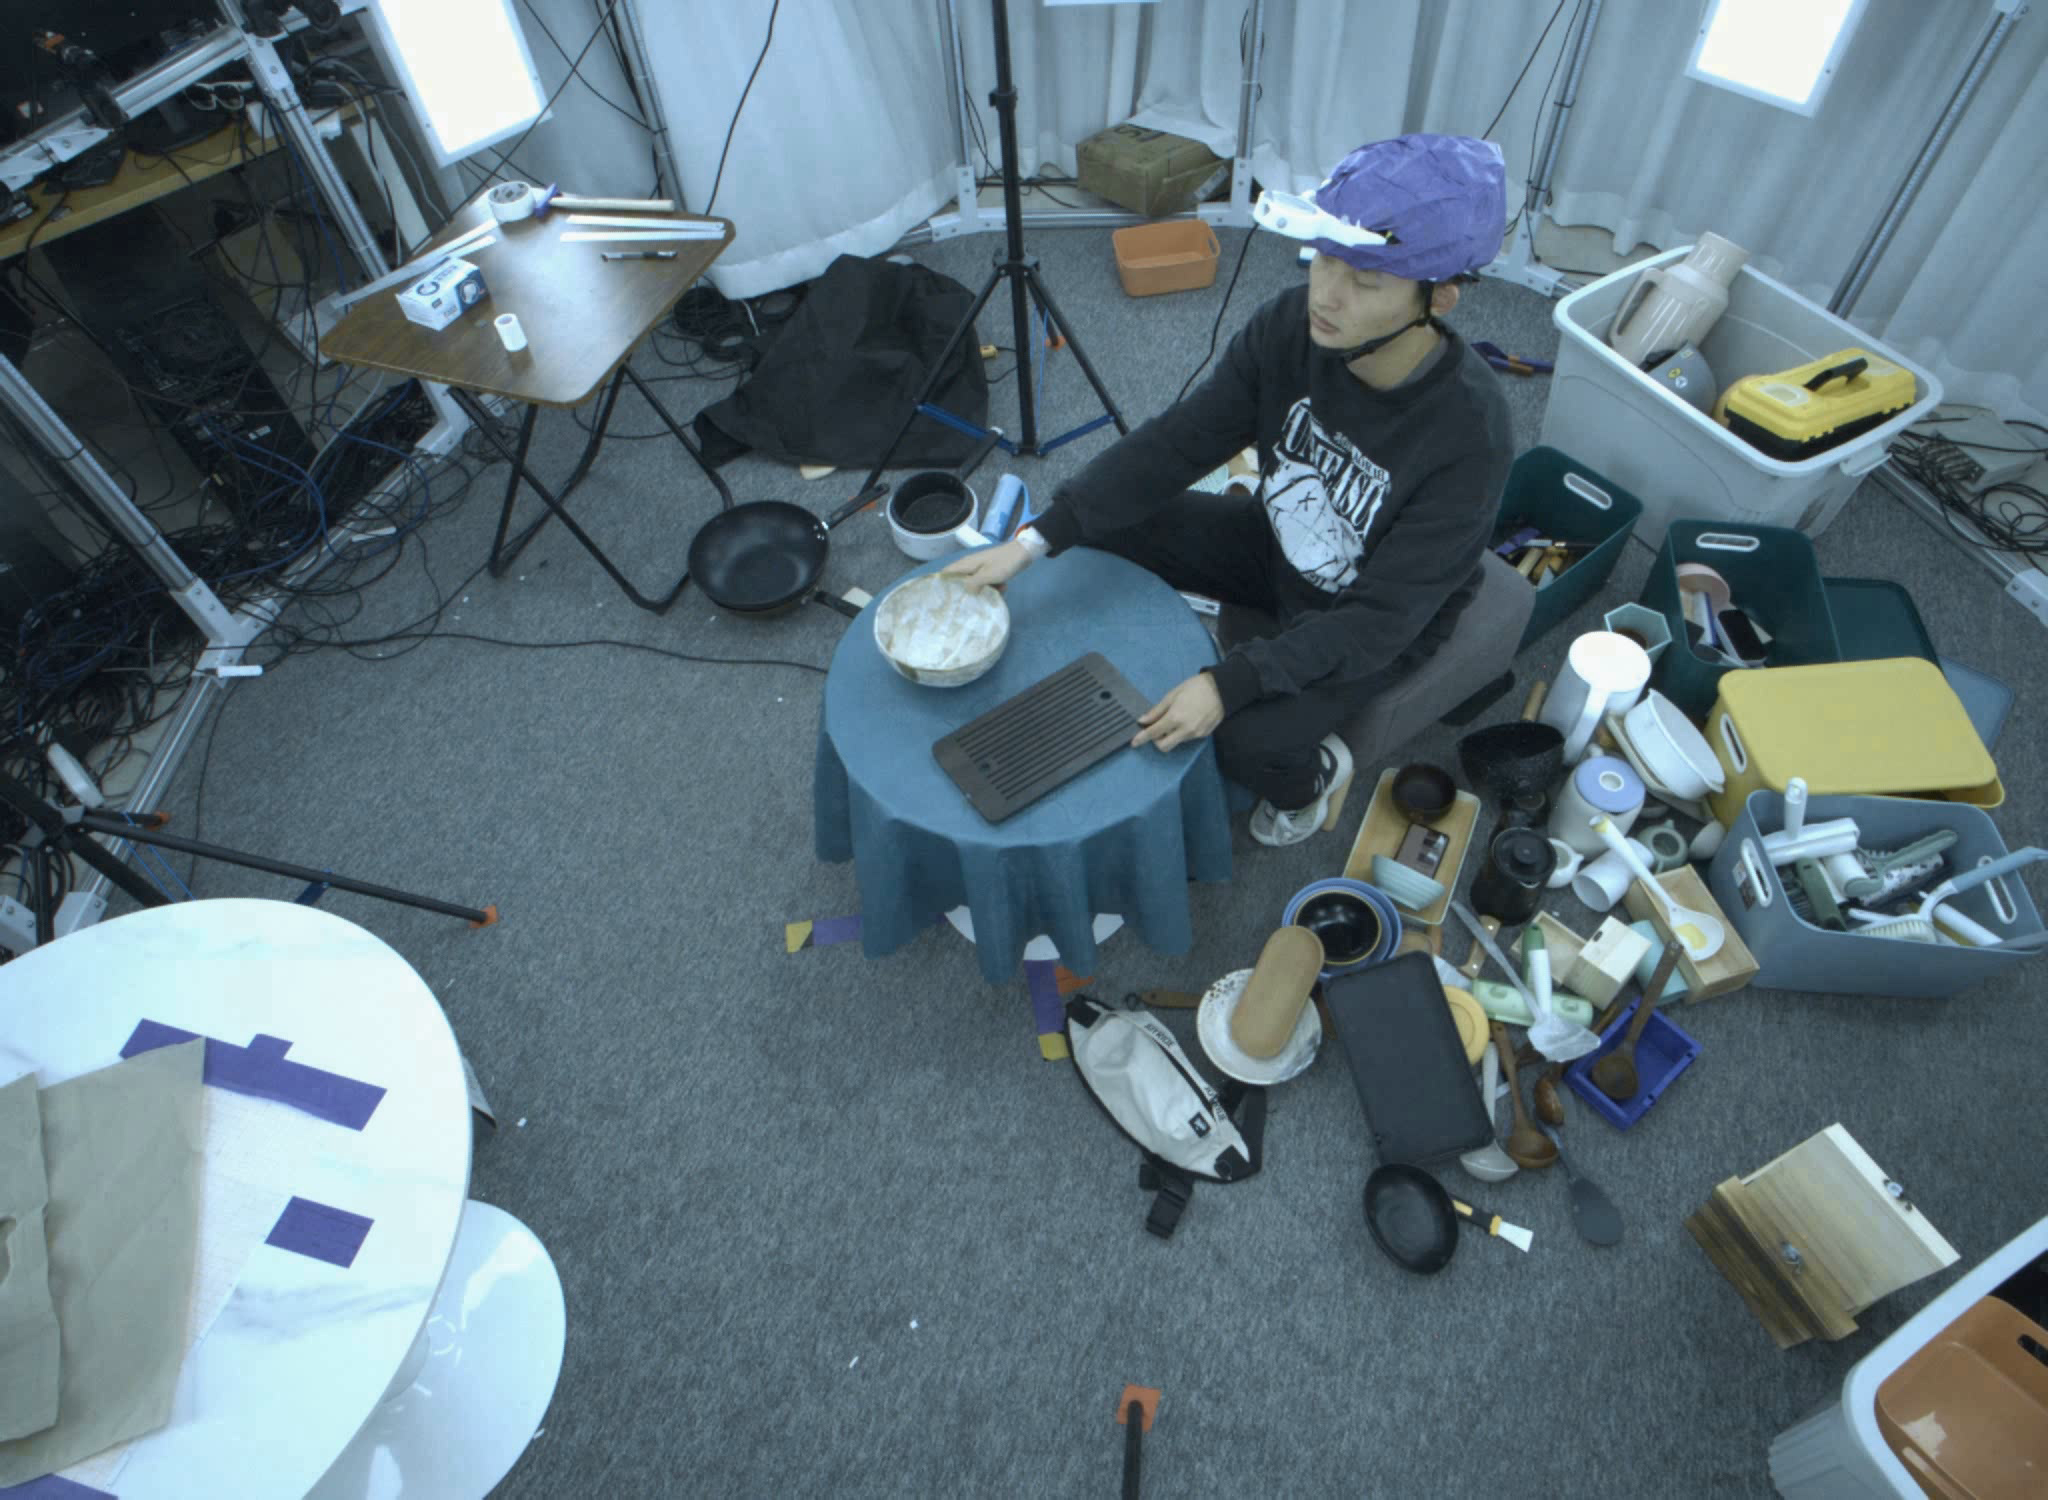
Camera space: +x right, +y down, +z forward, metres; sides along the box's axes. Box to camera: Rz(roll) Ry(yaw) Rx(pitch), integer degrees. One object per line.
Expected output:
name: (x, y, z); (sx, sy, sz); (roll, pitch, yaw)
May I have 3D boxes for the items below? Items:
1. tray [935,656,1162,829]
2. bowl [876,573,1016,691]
tray: (0.037, -0.015, 1.796); (0.308, 0.019, 0.167); (-31, 60, -19)
bowl: (-0.114, -0.161, 1.857); (0.214, 0.095, 0.212); (0, 54, 1)
